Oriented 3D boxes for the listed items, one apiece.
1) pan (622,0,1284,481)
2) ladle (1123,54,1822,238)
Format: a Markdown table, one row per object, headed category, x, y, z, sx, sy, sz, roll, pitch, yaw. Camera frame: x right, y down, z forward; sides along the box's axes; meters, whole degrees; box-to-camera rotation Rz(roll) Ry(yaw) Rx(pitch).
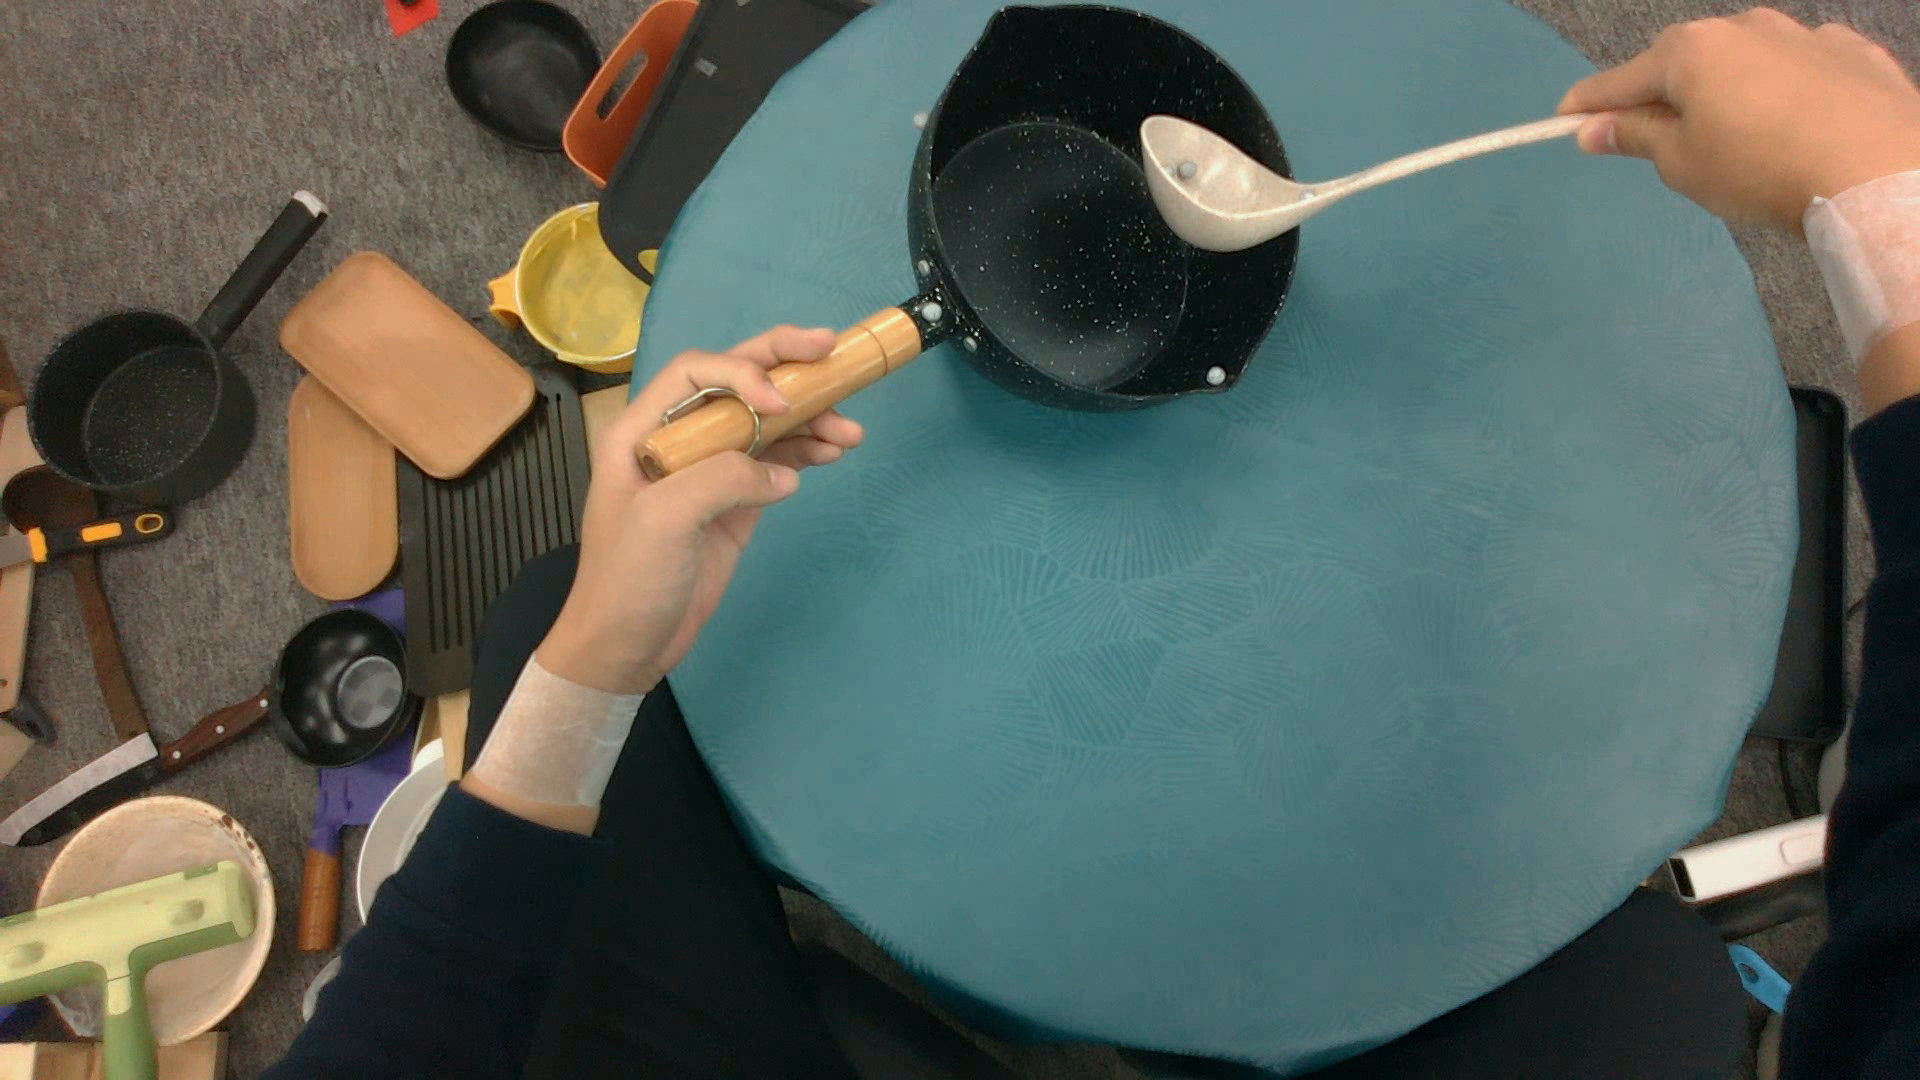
| category | x | y | z | sx | sy | sz | roll | pitch | yaw |
| --- | --- | --- | --- | --- | --- | --- | --- | --- | --- |
| pan | -0.005 | -0.113 | 0.625 | 0.344 | 0.108 | 0.207 | -35 | 95 | -21 |
| ladle | 0.204 | -0.192 | 0.588 | 0.274 | 0.090 | 0.069 | -11 | 108 | 28 |
